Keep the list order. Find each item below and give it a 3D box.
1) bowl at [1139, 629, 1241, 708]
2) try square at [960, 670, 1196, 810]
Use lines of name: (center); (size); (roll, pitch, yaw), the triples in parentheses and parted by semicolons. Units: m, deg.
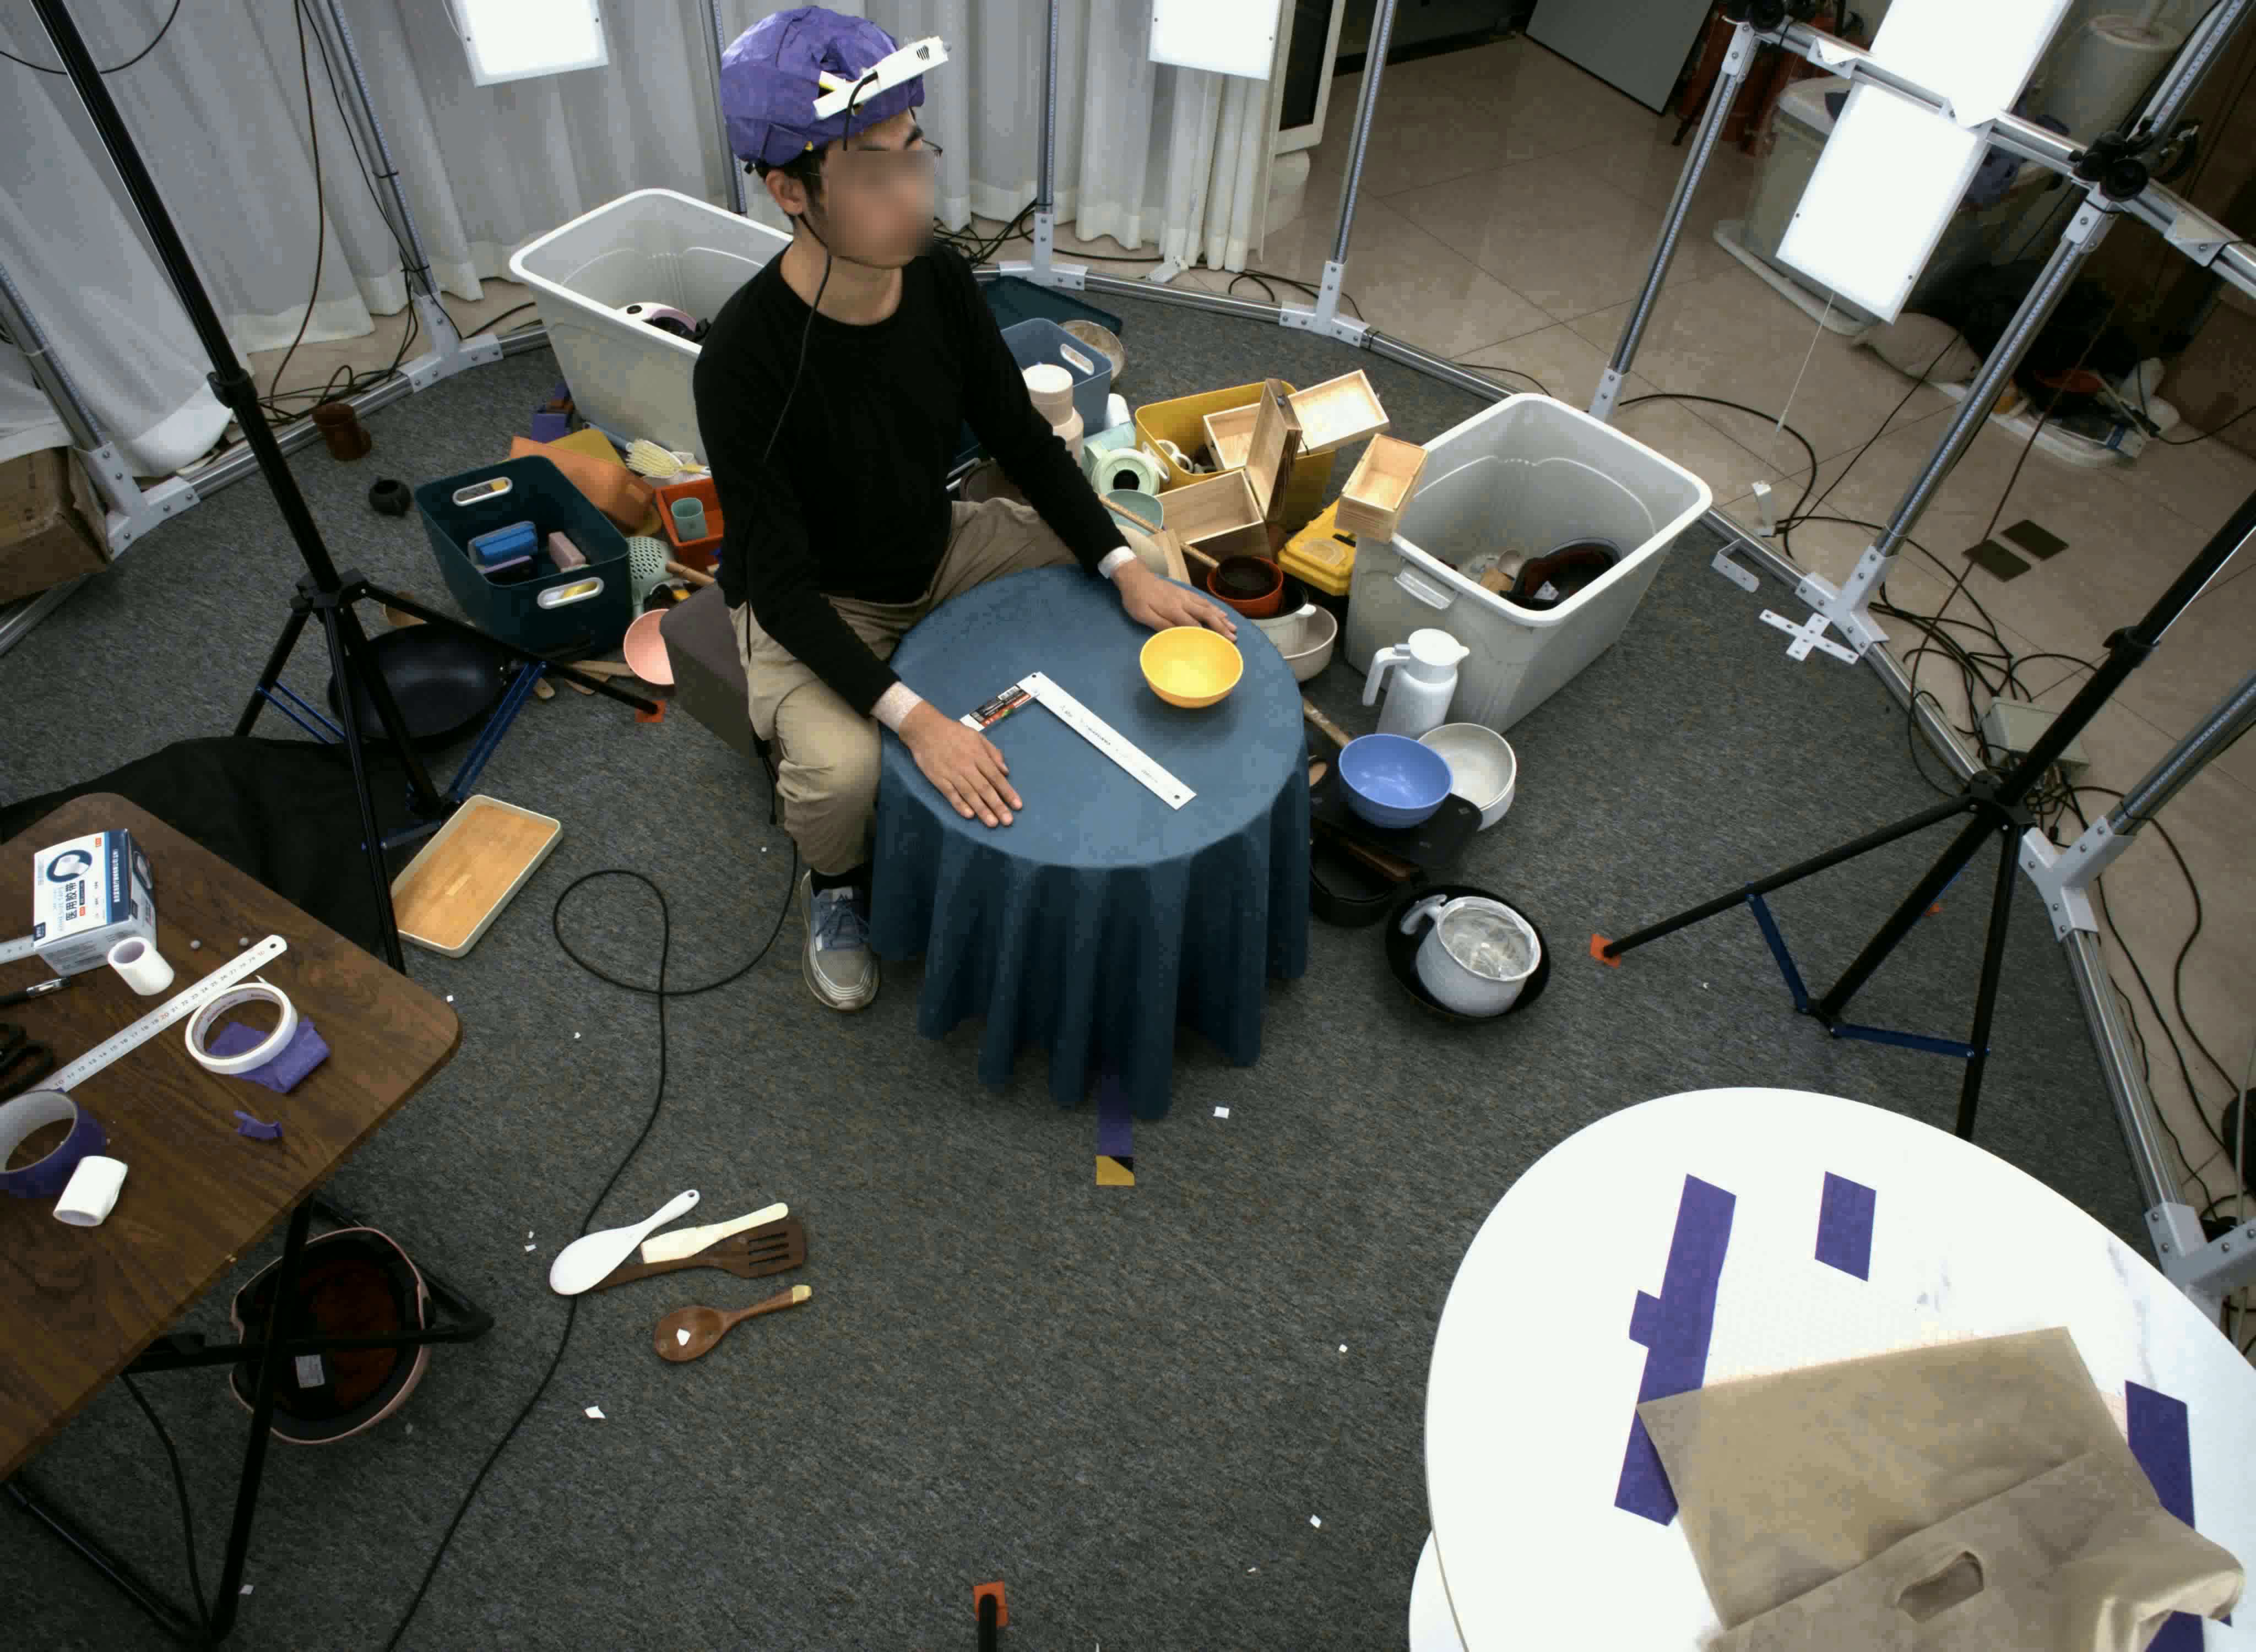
bowl: (0.085, -0.212, 1.824); (0.145, 0.058, 0.149); (2, 46, -3)
try square: (-0.071, -0.093, 1.745); (0.153, 0.015, 0.317); (-37, 62, -26)
